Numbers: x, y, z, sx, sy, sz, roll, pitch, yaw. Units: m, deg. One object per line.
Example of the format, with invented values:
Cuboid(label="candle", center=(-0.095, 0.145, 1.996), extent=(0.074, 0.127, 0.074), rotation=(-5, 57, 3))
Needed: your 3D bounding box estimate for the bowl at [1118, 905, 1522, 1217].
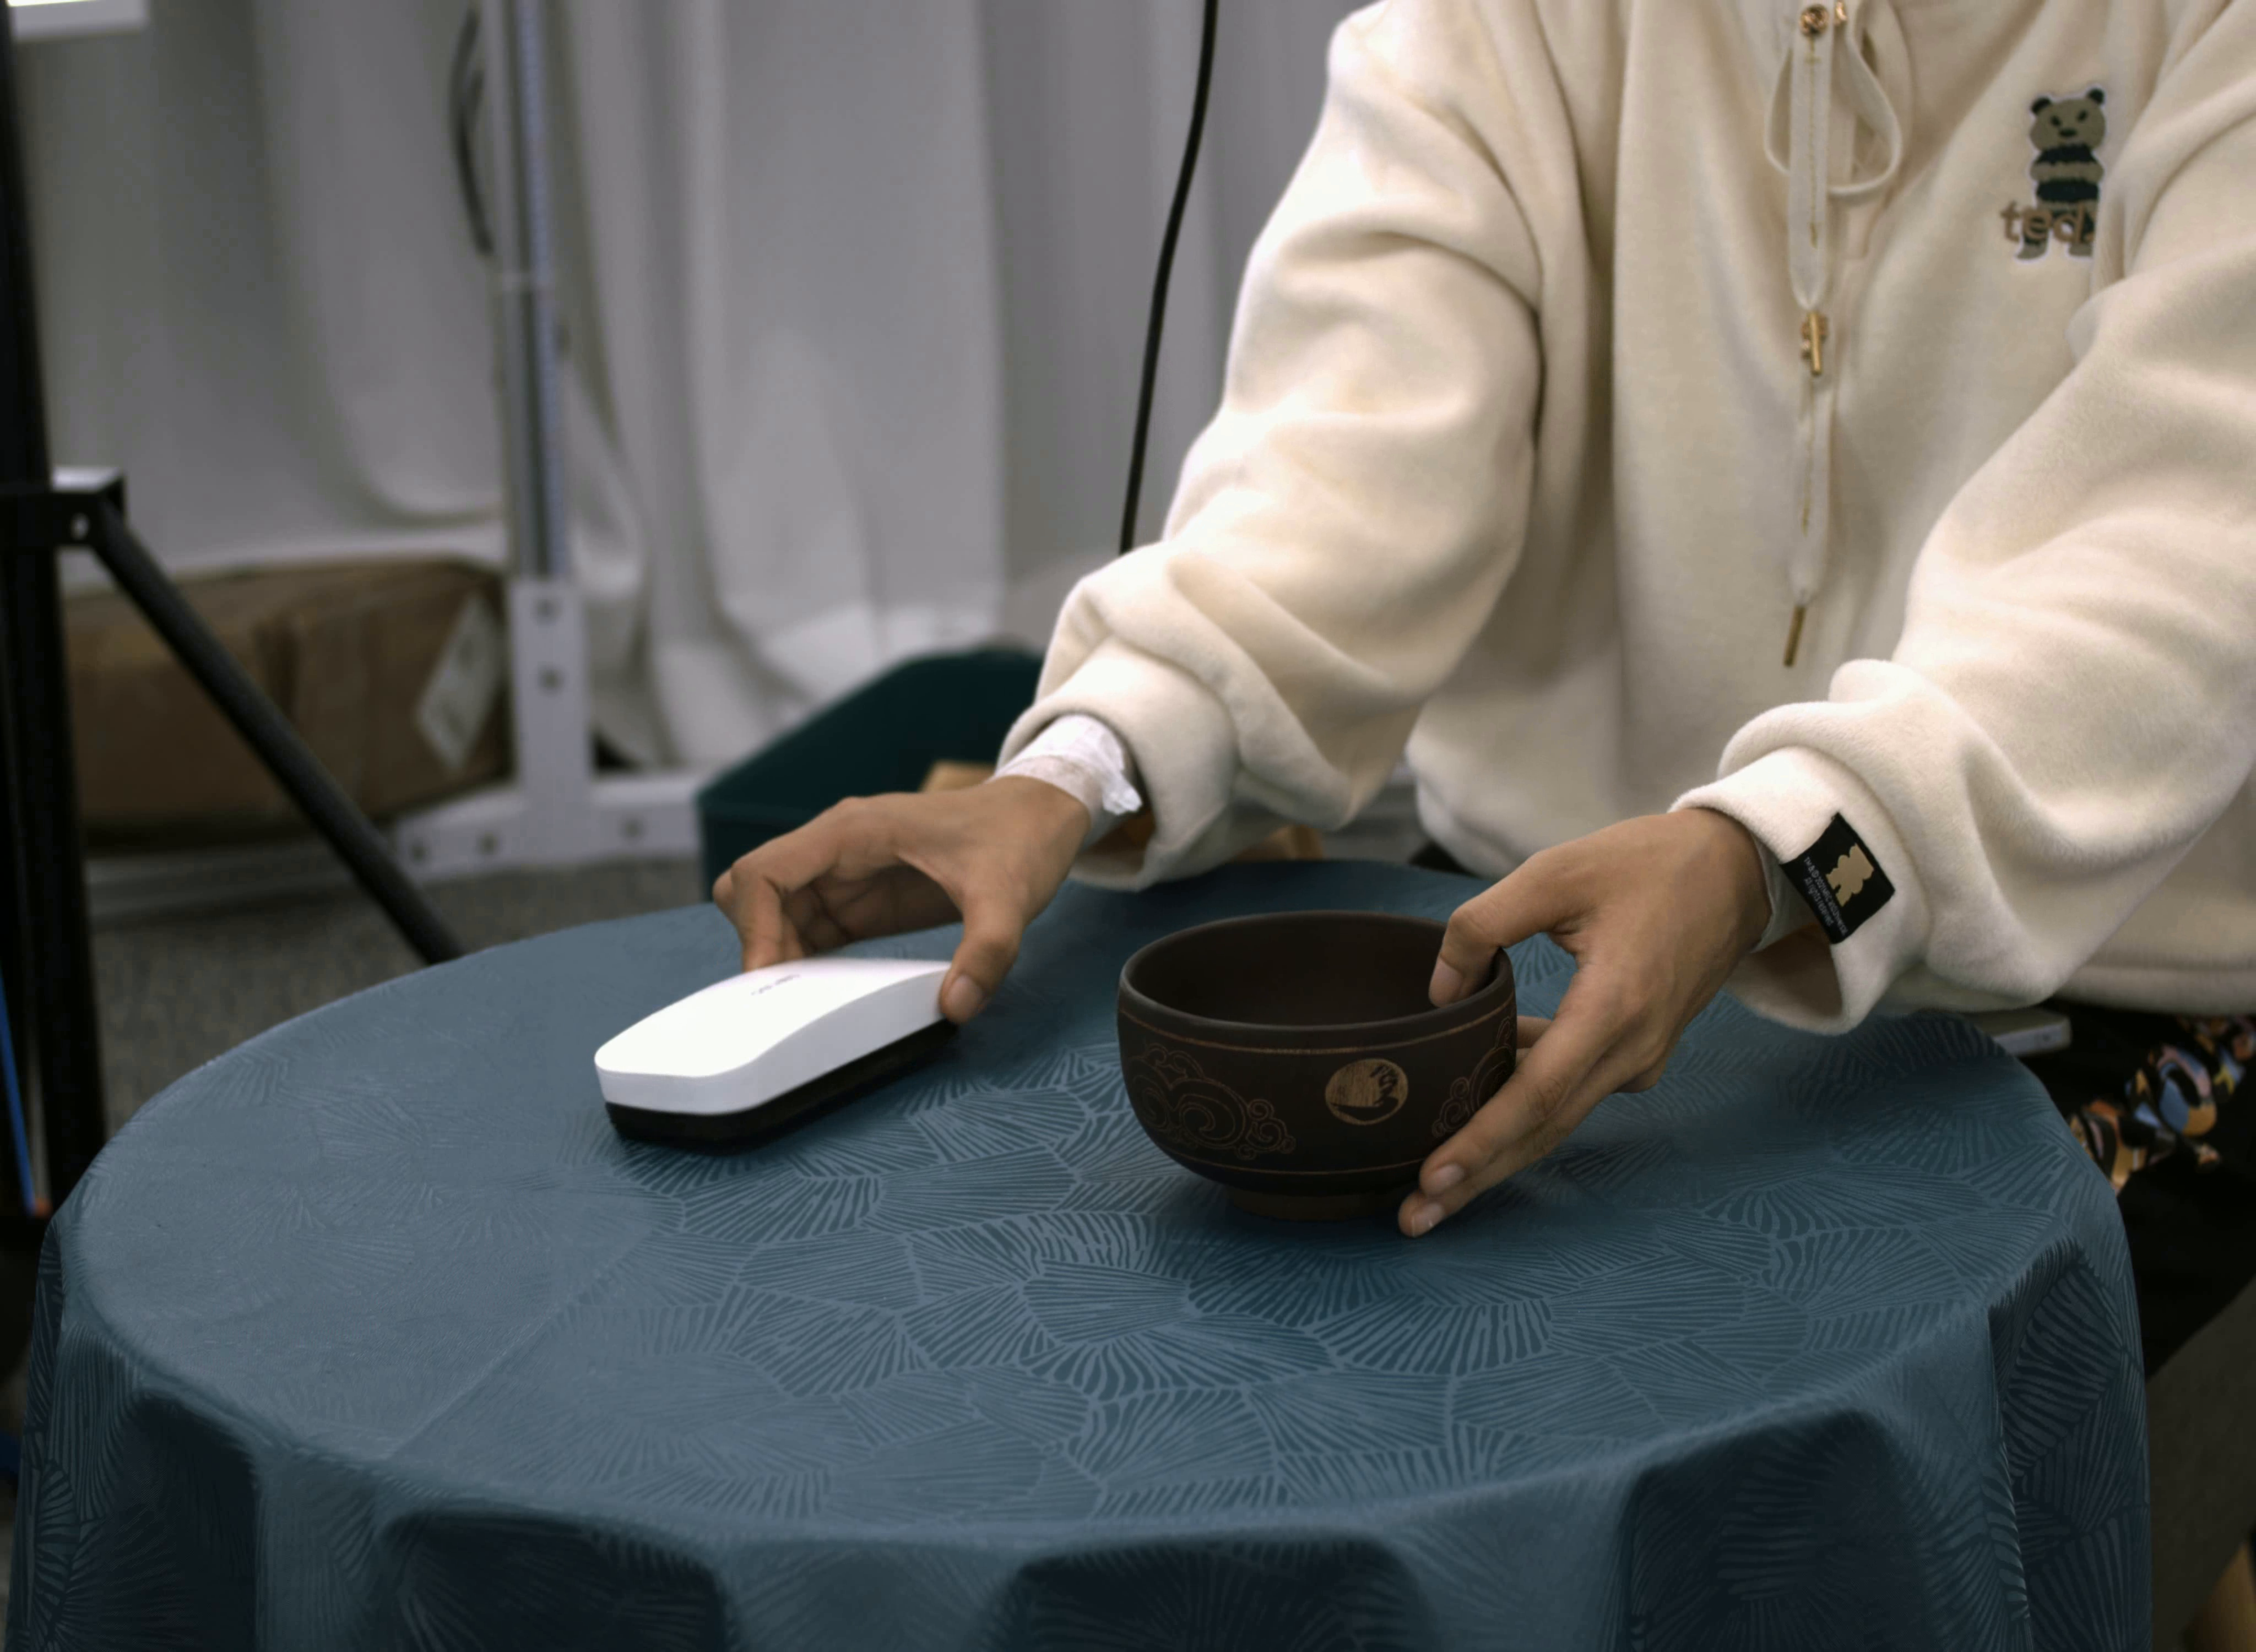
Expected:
Cuboid(label="bowl", center=(0.056, 0.072, 1.542), extent=(0.117, 0.070, 0.118), rotation=(0, 16, -1))

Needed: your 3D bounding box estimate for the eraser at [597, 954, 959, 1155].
Cuboid(label="eraser", center=(-0.106, 0.067, 1.659), extent=(0.064, 0.034, 0.129), rotation=(3, 17, 34))
